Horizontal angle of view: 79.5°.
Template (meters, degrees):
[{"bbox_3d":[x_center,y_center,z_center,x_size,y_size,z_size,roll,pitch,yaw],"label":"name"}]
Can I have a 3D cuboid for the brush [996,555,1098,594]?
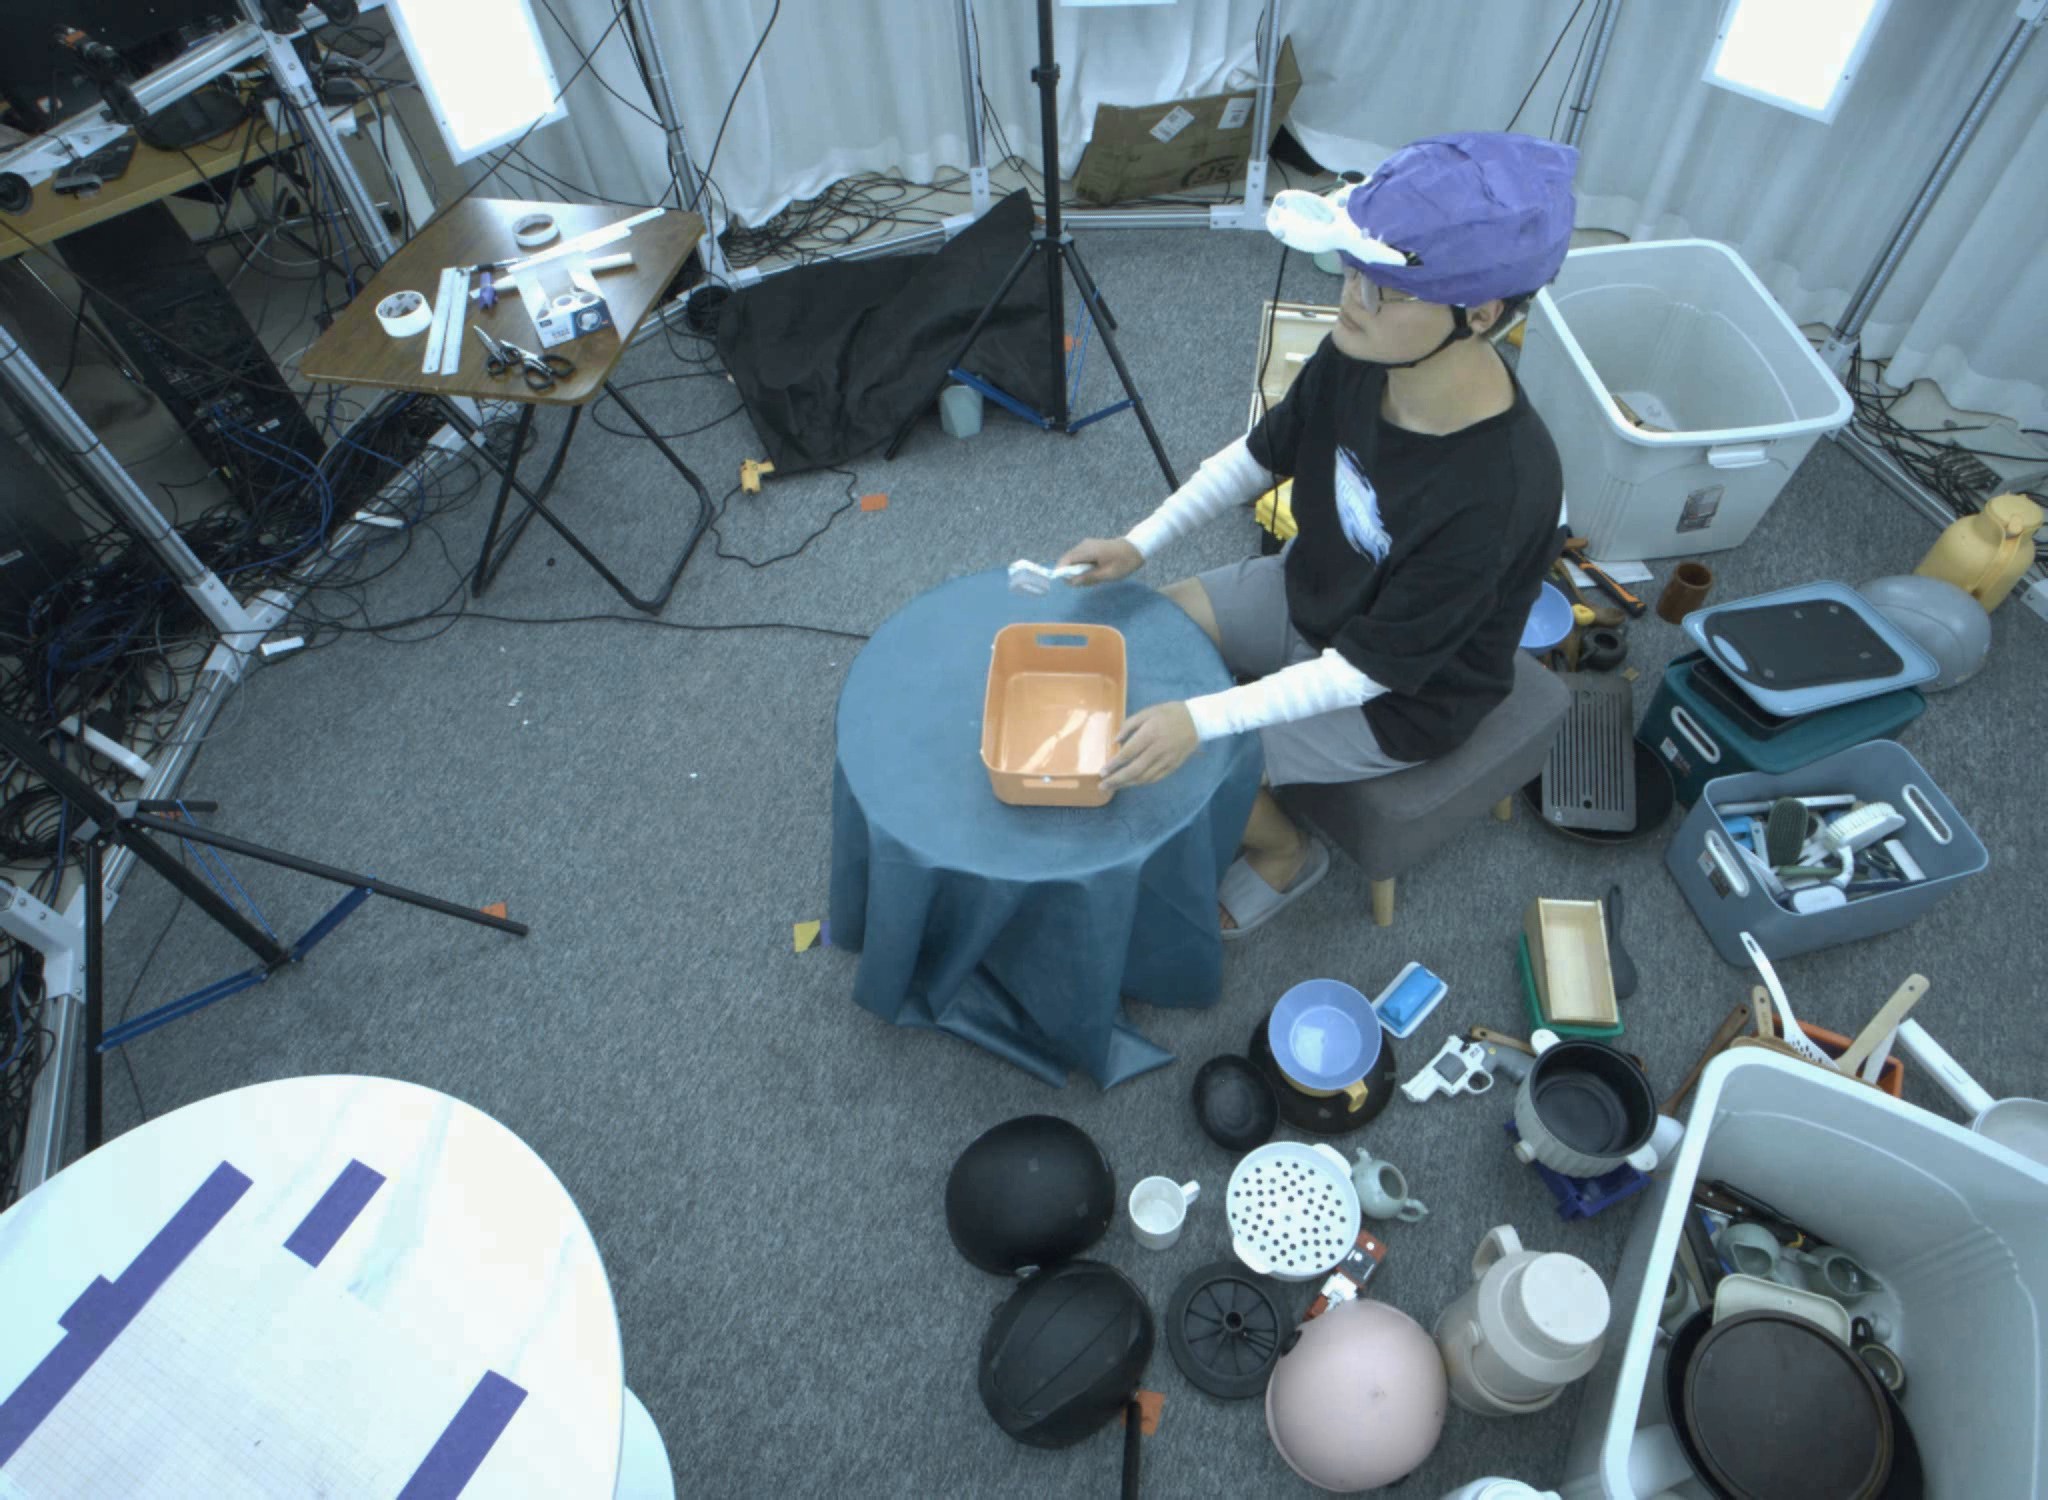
[{"bbox_3d":[0.043,-0.259,1.846,0.248,0.034,0.050,-7,75,-53],"label":"brush"}]

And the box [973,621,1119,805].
[{"bbox_3d":[0.036,-0.049,1.746,0.199,0.104,0.270,1,55,4],"label":"box"}]
